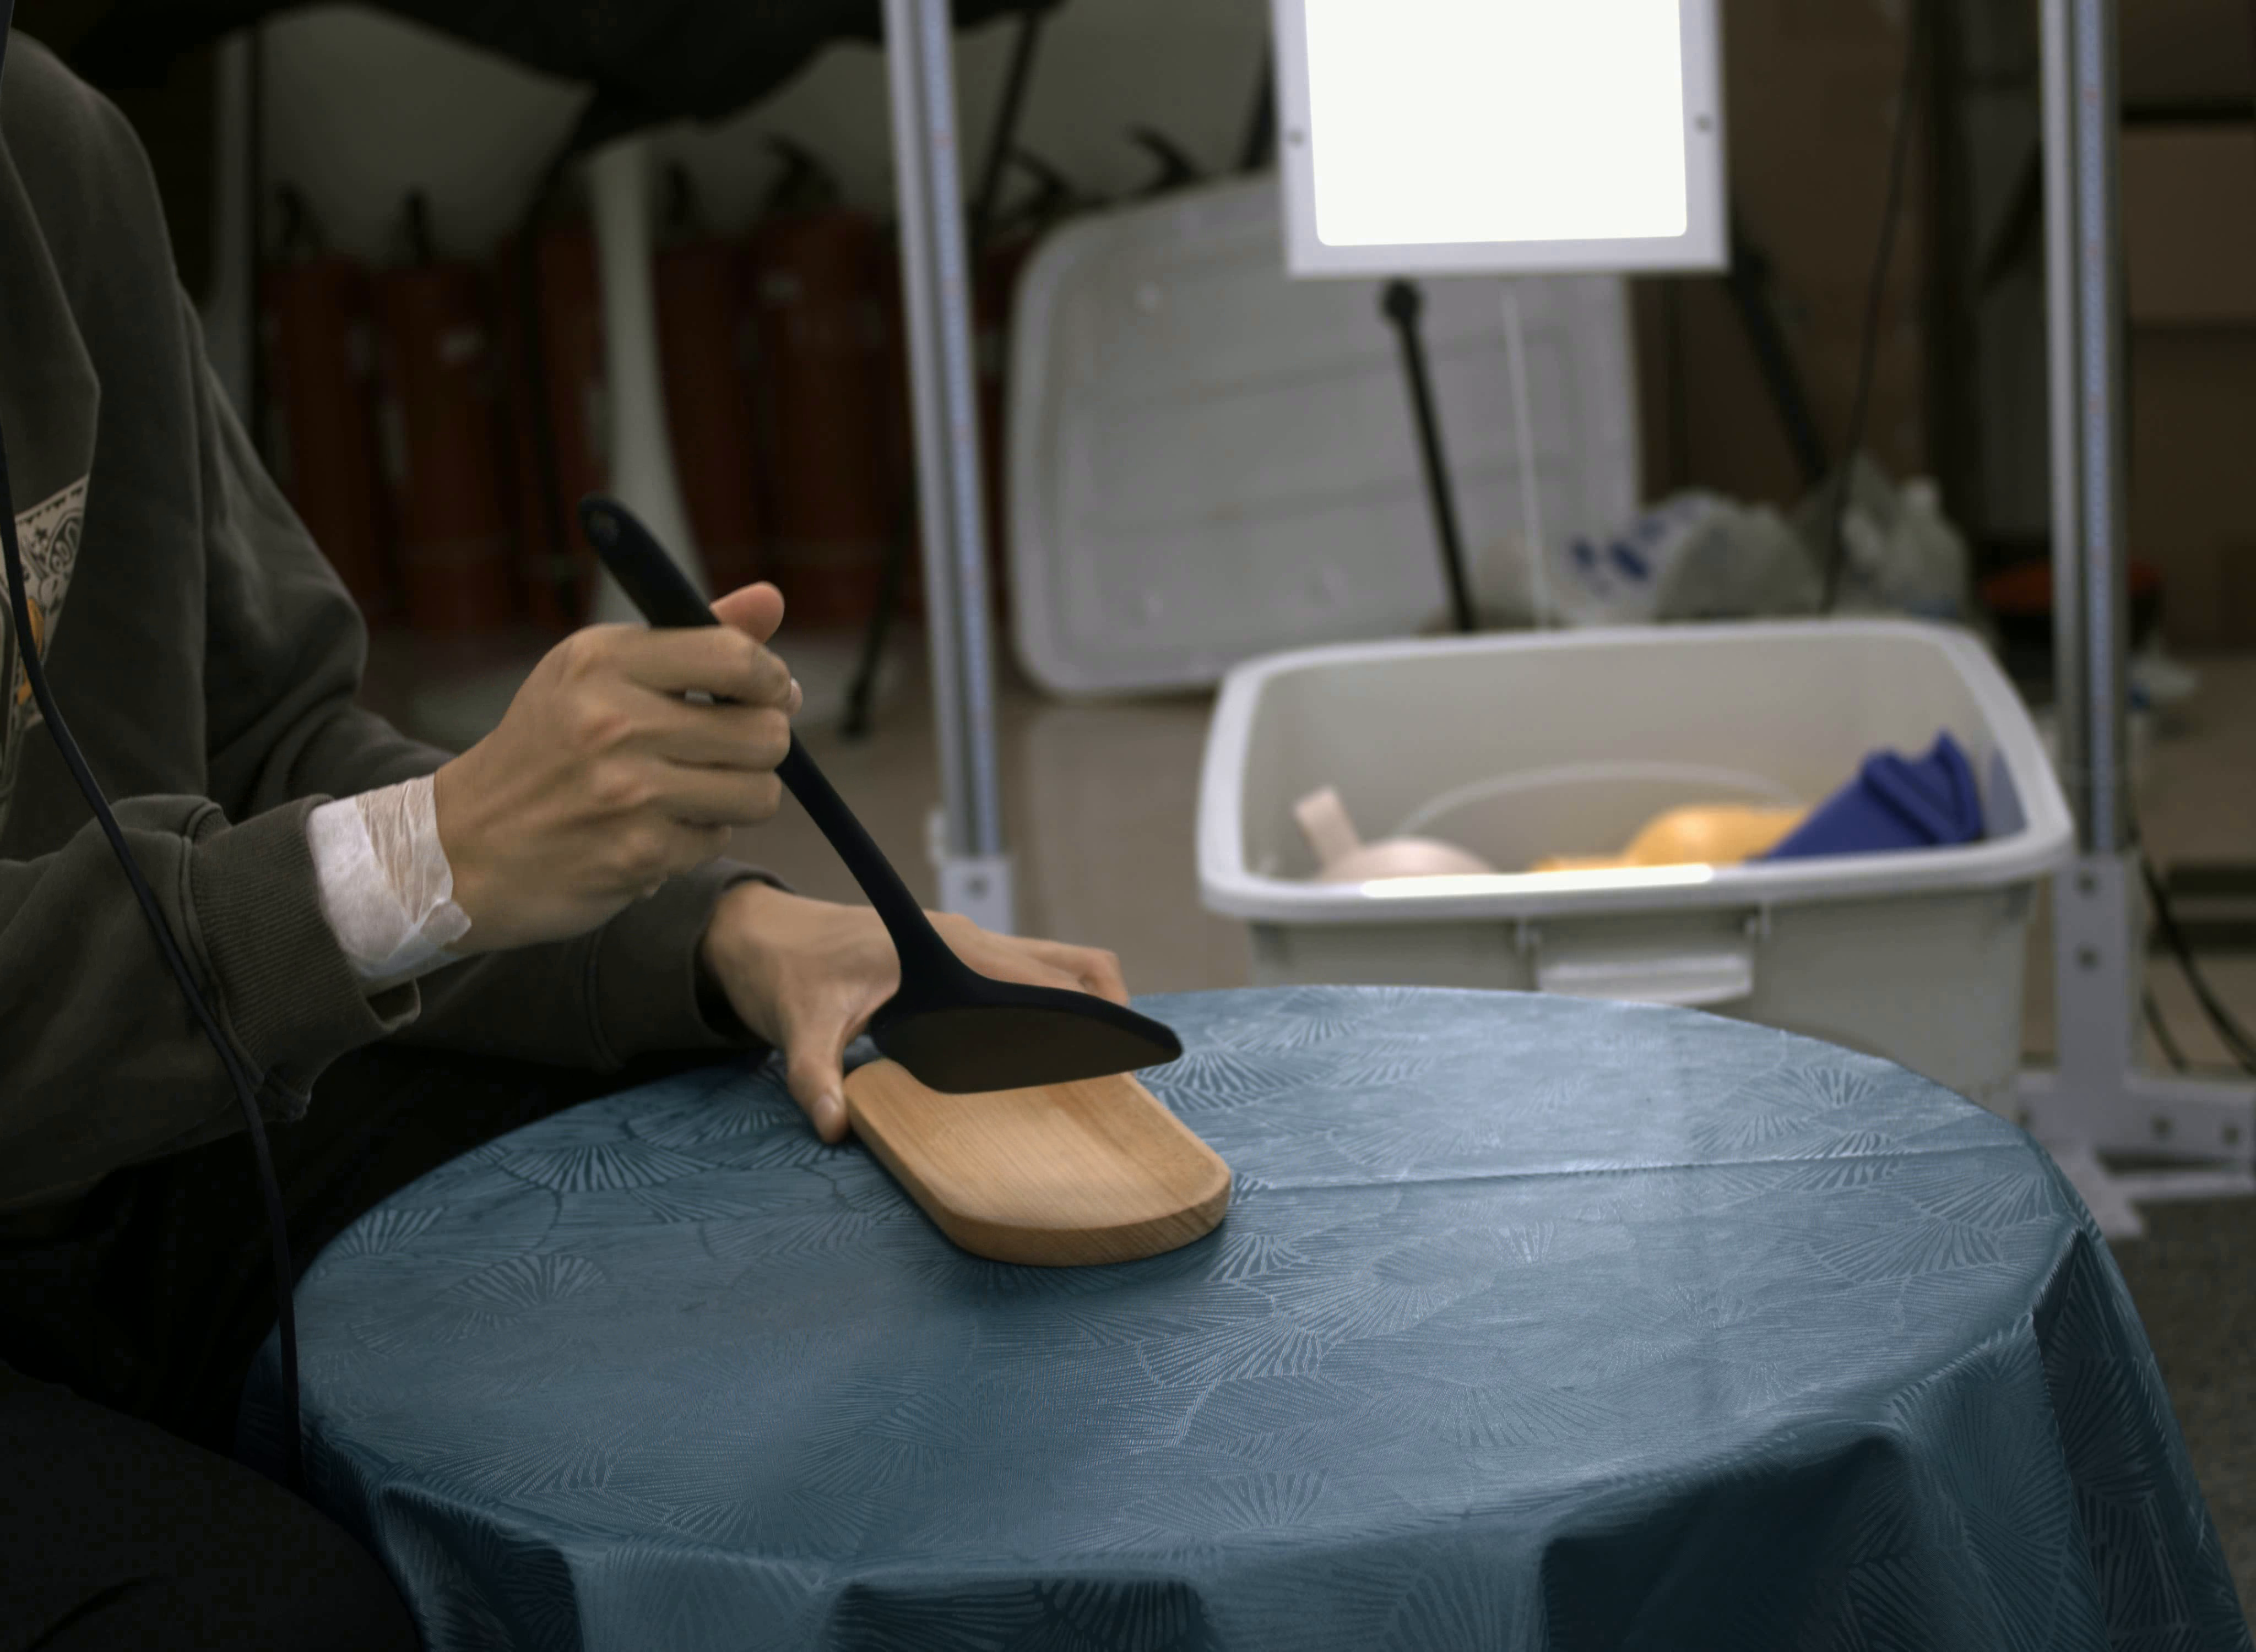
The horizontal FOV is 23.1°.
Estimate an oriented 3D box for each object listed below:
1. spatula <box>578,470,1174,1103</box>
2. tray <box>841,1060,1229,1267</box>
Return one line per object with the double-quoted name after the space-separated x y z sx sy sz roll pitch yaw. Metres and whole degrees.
-0.092 -0.007 1.749 0.101 0.323 0.040 -10 43 25 "spatula"
-0.035 0.114 1.925 0.100 0.020 0.233 -8 16 -14 "tray"
